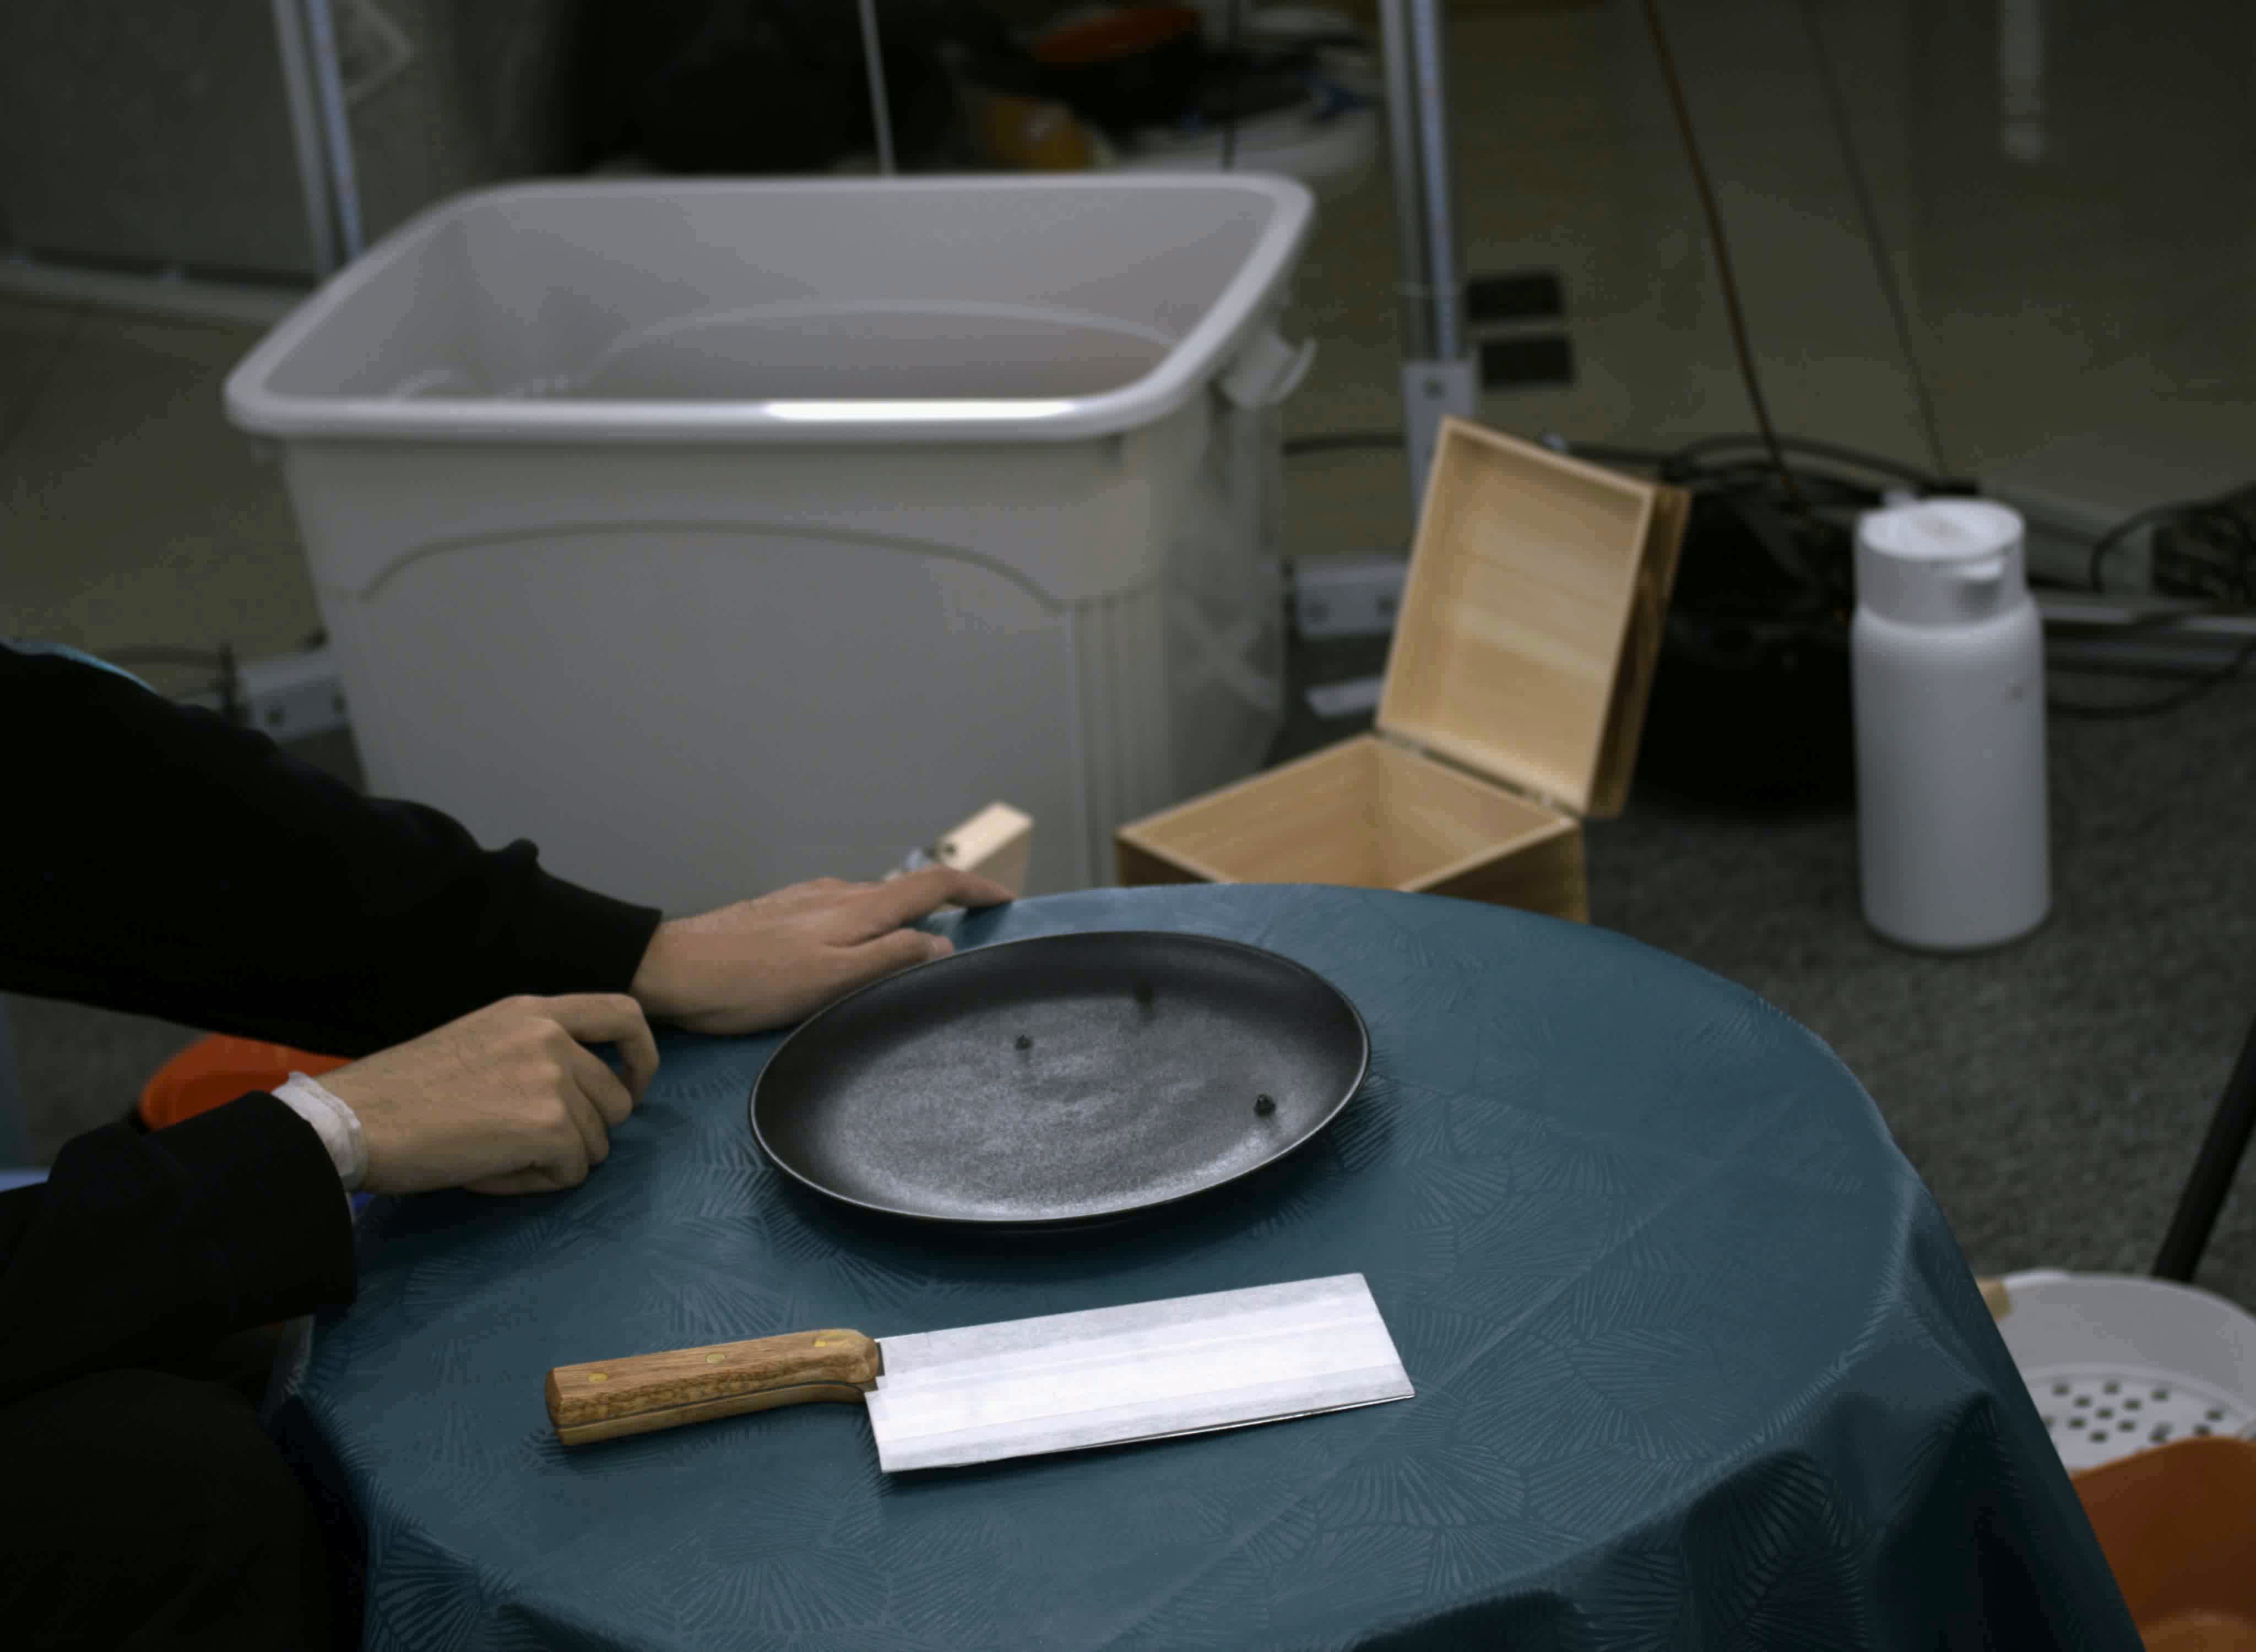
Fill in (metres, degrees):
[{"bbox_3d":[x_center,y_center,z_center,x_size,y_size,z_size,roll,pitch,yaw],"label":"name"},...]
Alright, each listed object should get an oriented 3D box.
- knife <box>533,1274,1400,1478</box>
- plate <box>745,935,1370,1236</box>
[{"bbox_3d":[-0.056,0.200,2.012,0.305,0.021,0.091,-7,26,-7],"label":"knife"},{"bbox_3d":[-0.027,0.105,2.198,0.244,0.024,0.241,-5,25,3],"label":"plate"}]
